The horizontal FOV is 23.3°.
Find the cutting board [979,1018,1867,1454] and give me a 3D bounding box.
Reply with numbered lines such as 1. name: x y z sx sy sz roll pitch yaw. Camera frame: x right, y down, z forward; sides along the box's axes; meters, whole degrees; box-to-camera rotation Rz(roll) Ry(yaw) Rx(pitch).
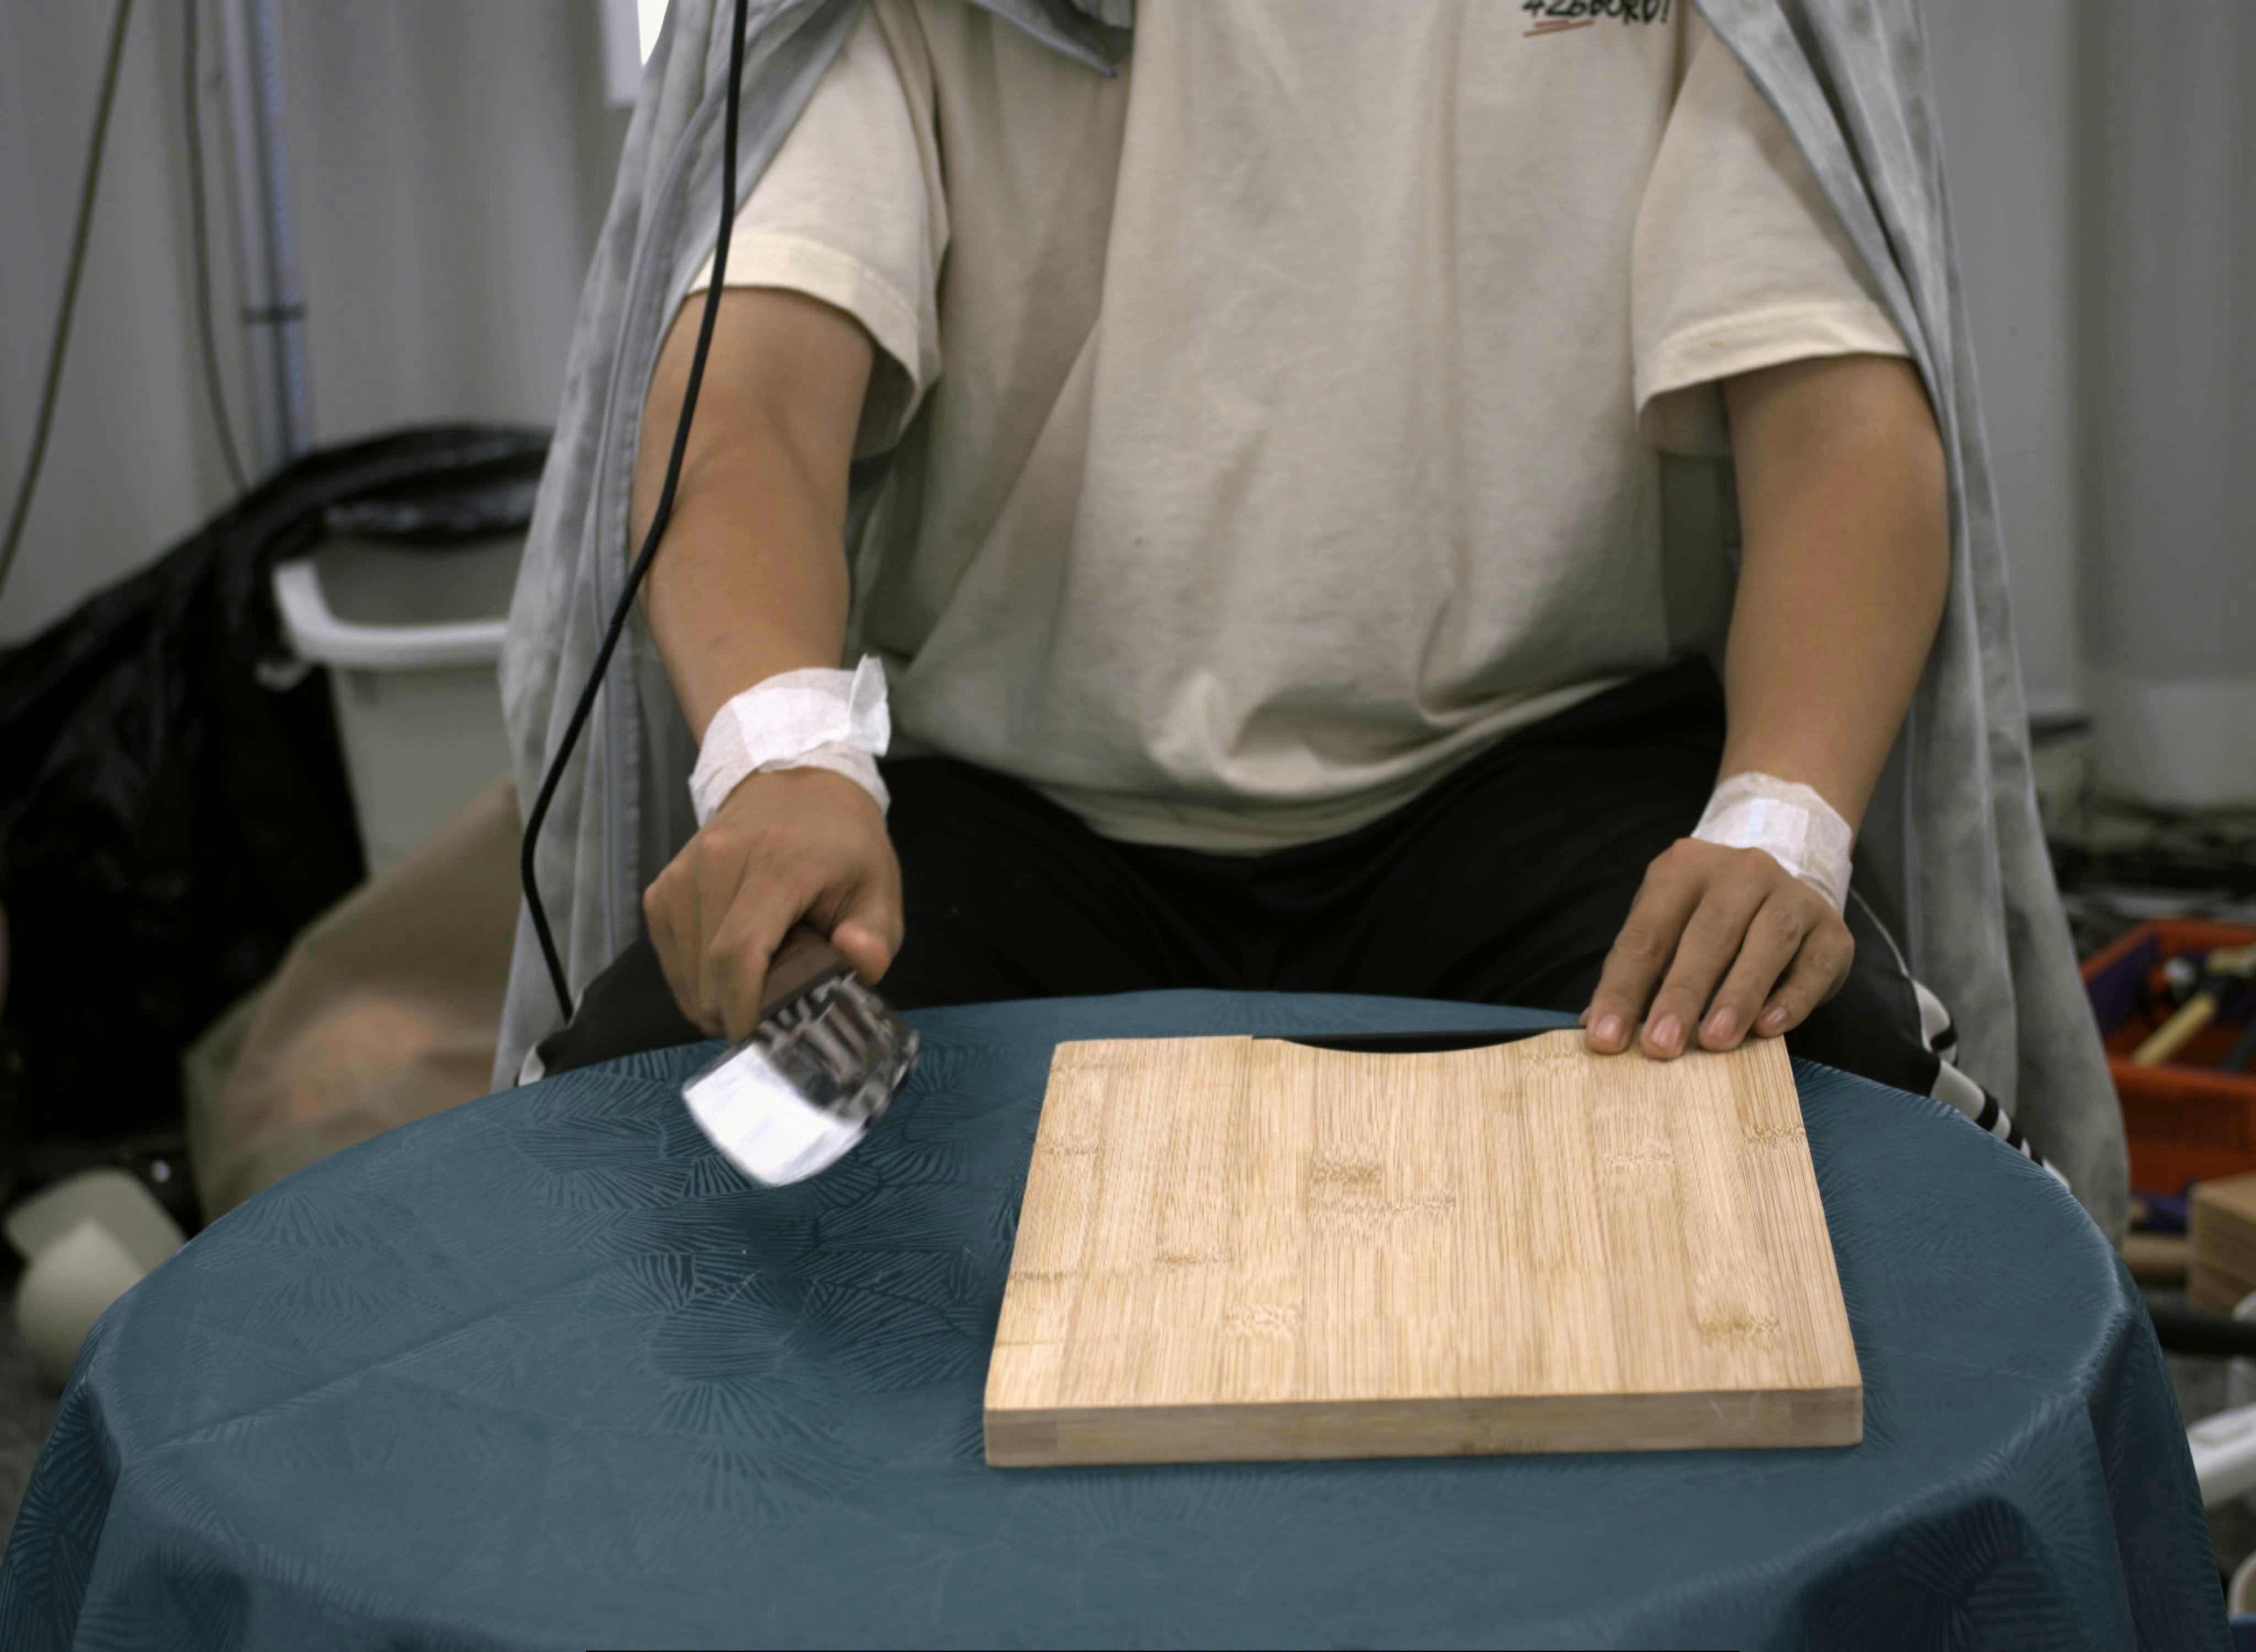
1. cutting board: 0.088 0.120 1.653 0.250 0.023 0.351 -2 15 2

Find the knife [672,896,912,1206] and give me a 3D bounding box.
1. knife: -0.111 0.070 1.708 0.068 0.024 0.301 -33 15 -5
